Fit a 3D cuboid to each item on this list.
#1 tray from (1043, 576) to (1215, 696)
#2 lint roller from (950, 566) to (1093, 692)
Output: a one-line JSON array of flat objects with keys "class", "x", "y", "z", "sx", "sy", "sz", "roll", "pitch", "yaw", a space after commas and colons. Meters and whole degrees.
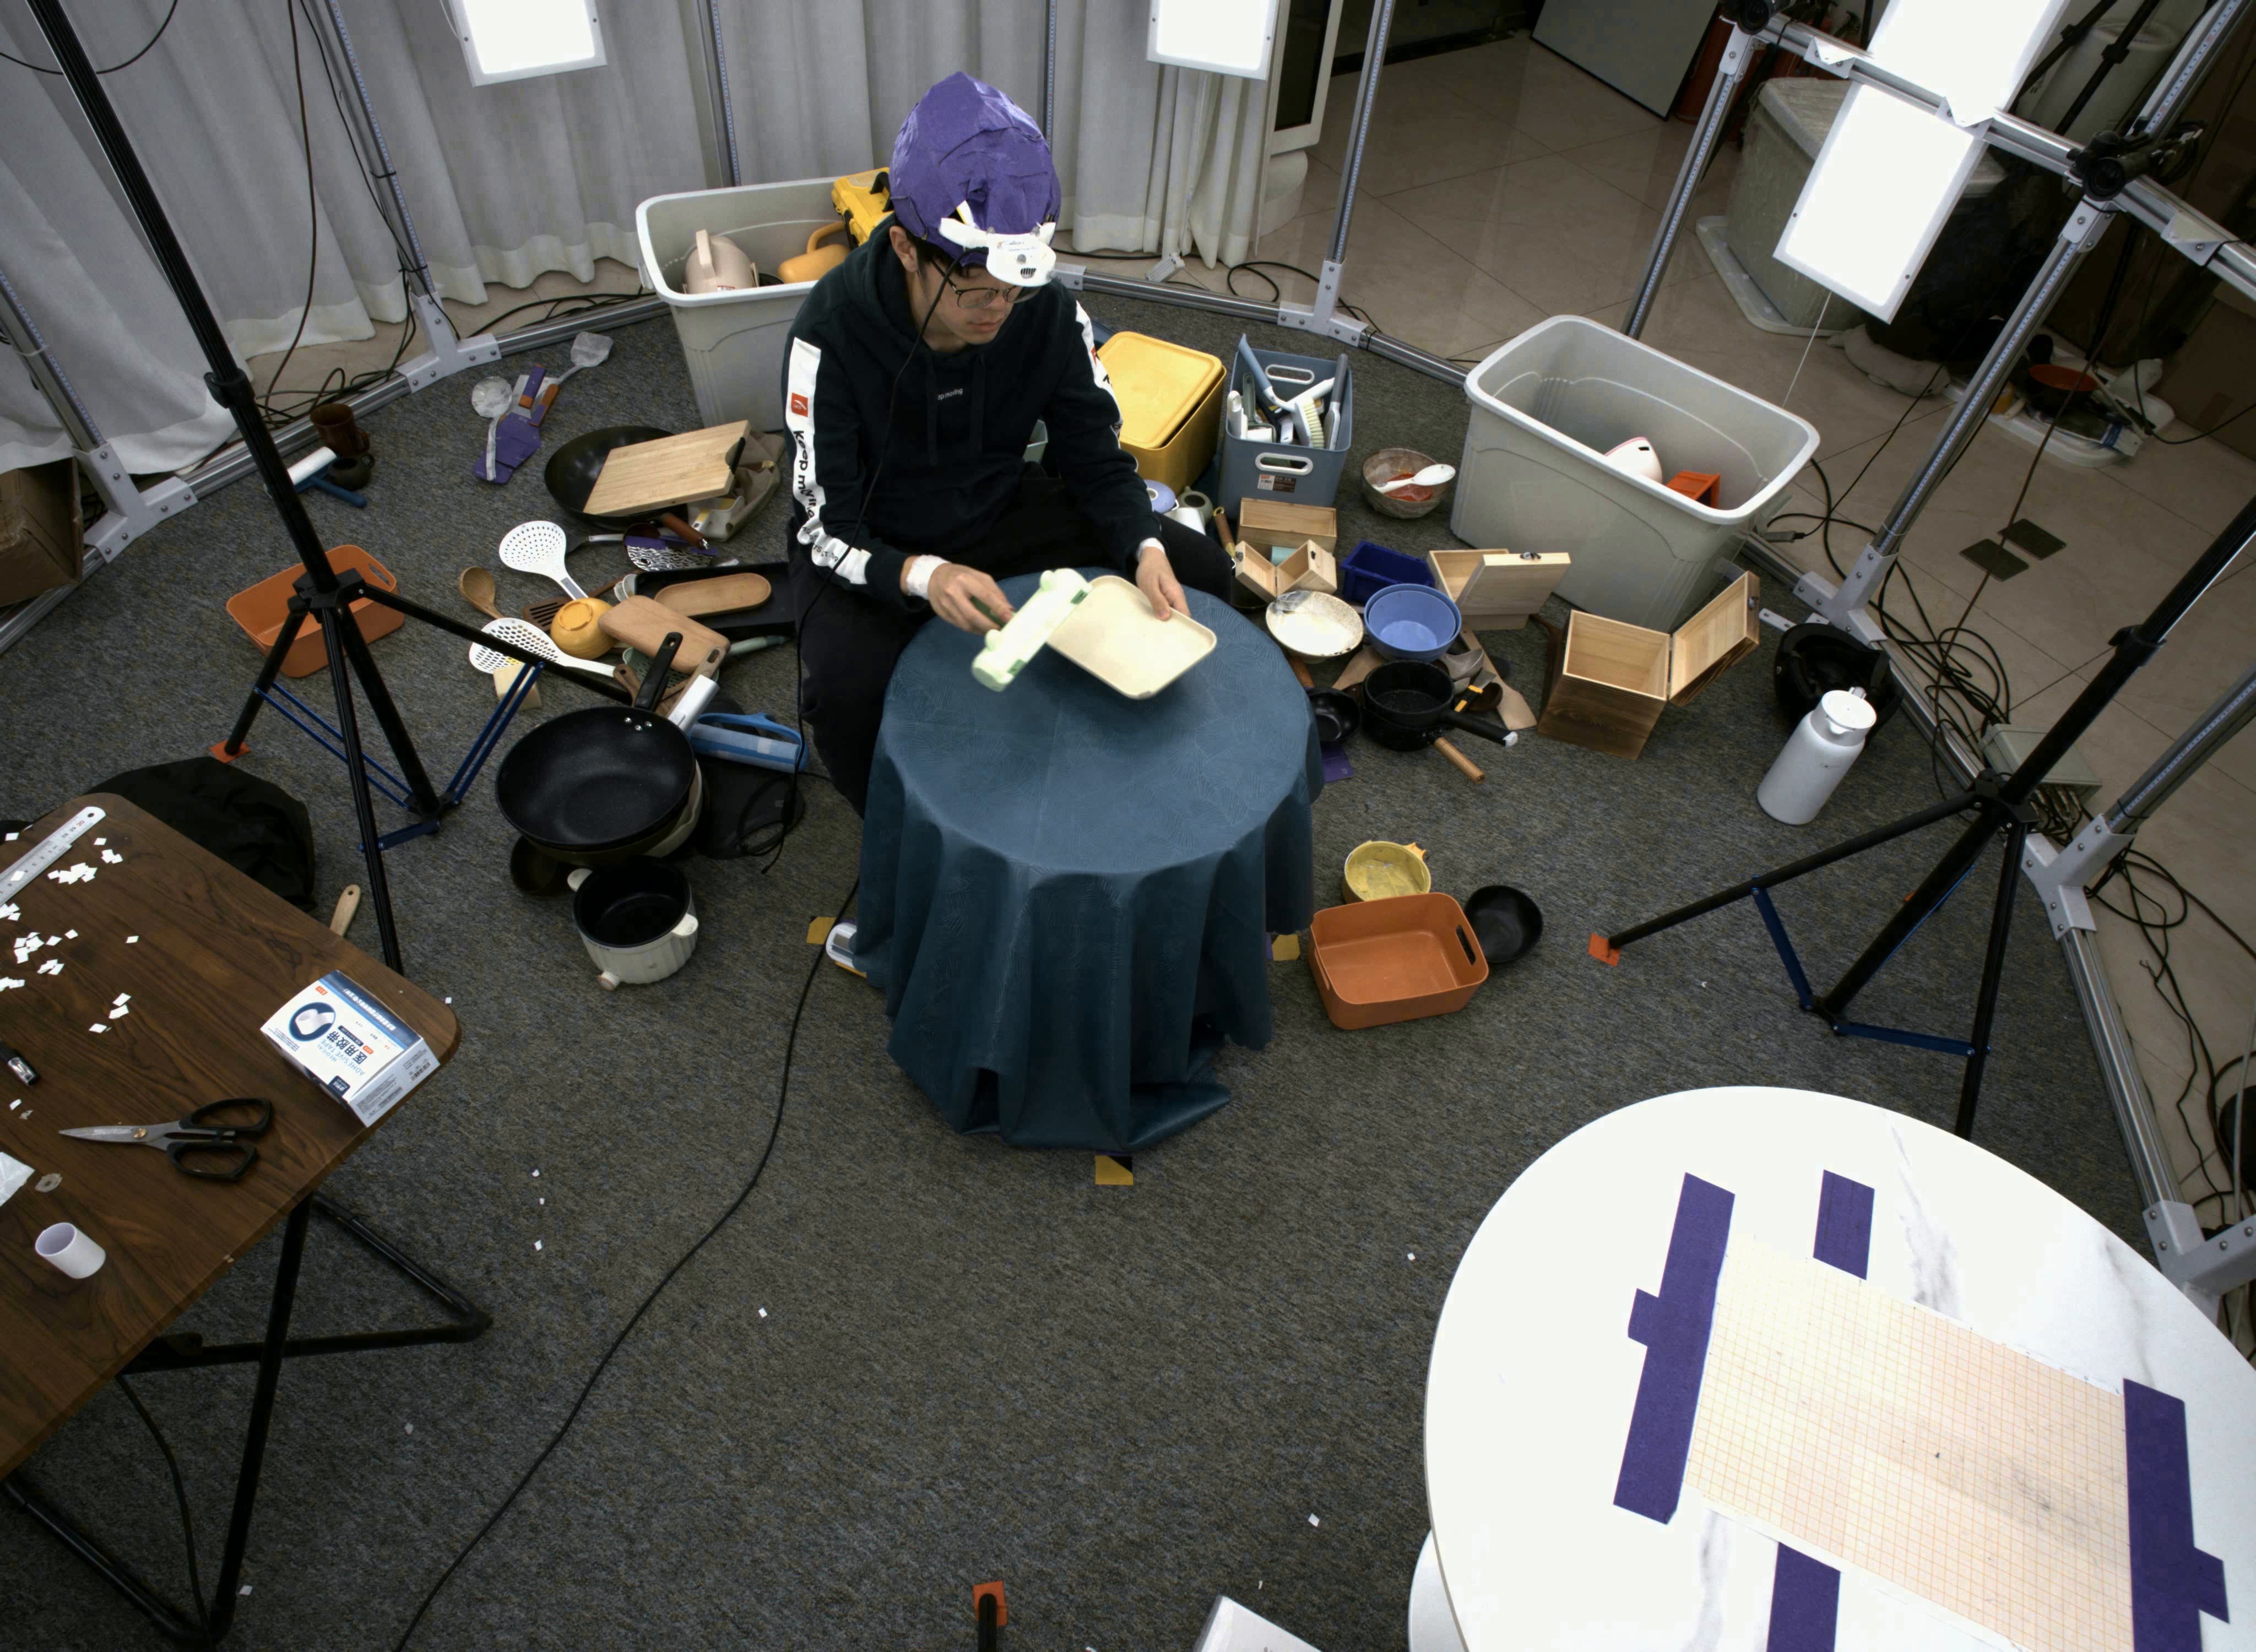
[{"class": "tray", "x": -0.009, "y": -0.270, "z": 1.818, "sx": 0.173, "sy": 0.017, "sz": 0.243, "roll": -36, "pitch": 53, "yaw": -27}, {"class": "lint roller", "x": -0.171, "y": -0.289, "z": 1.710, "sx": 0.185, "sy": 0.080, "sz": 0.201, "roll": 28, "pitch": 67, "yaw": 23}]
